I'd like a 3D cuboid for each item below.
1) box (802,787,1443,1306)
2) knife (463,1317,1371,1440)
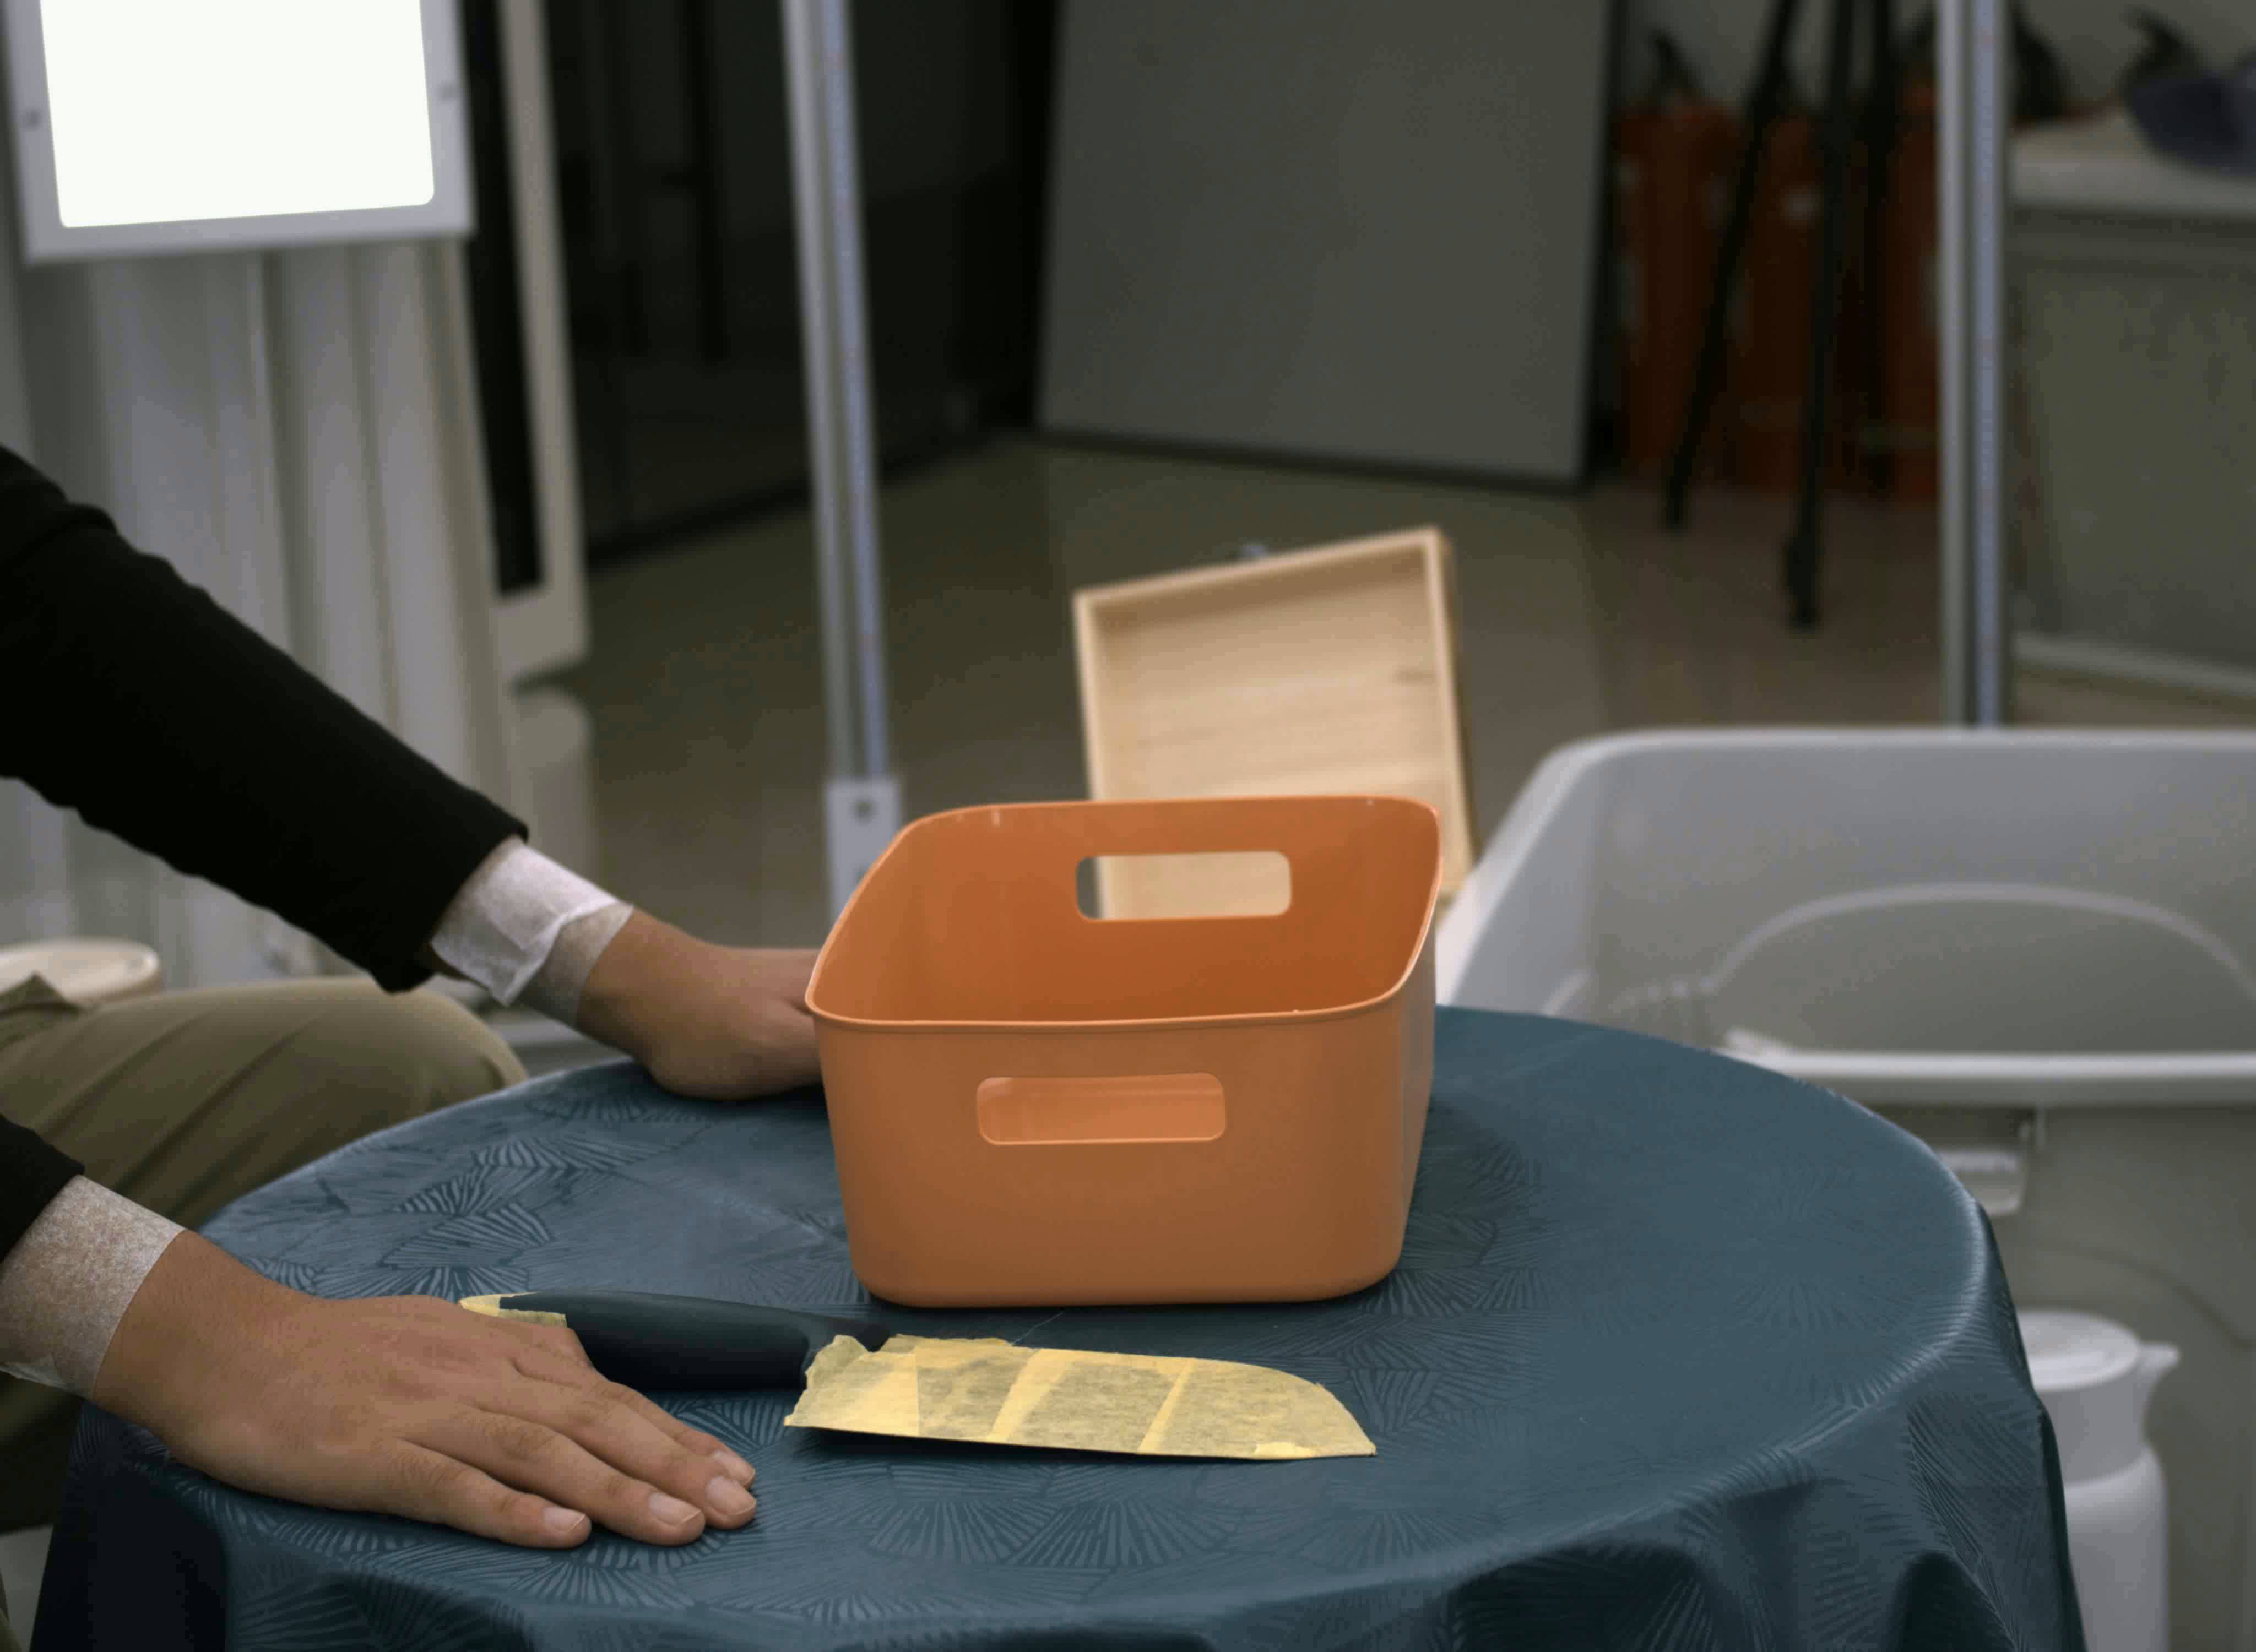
[{"bbox_3d":[0.004,0.070,1.756,0.197,0.104,0.272,-1,14,7],"label":"box"},{"bbox_3d":[-0.067,0.166,1.581,0.288,0.027,0.080,1,12,18],"label":"knife"}]
